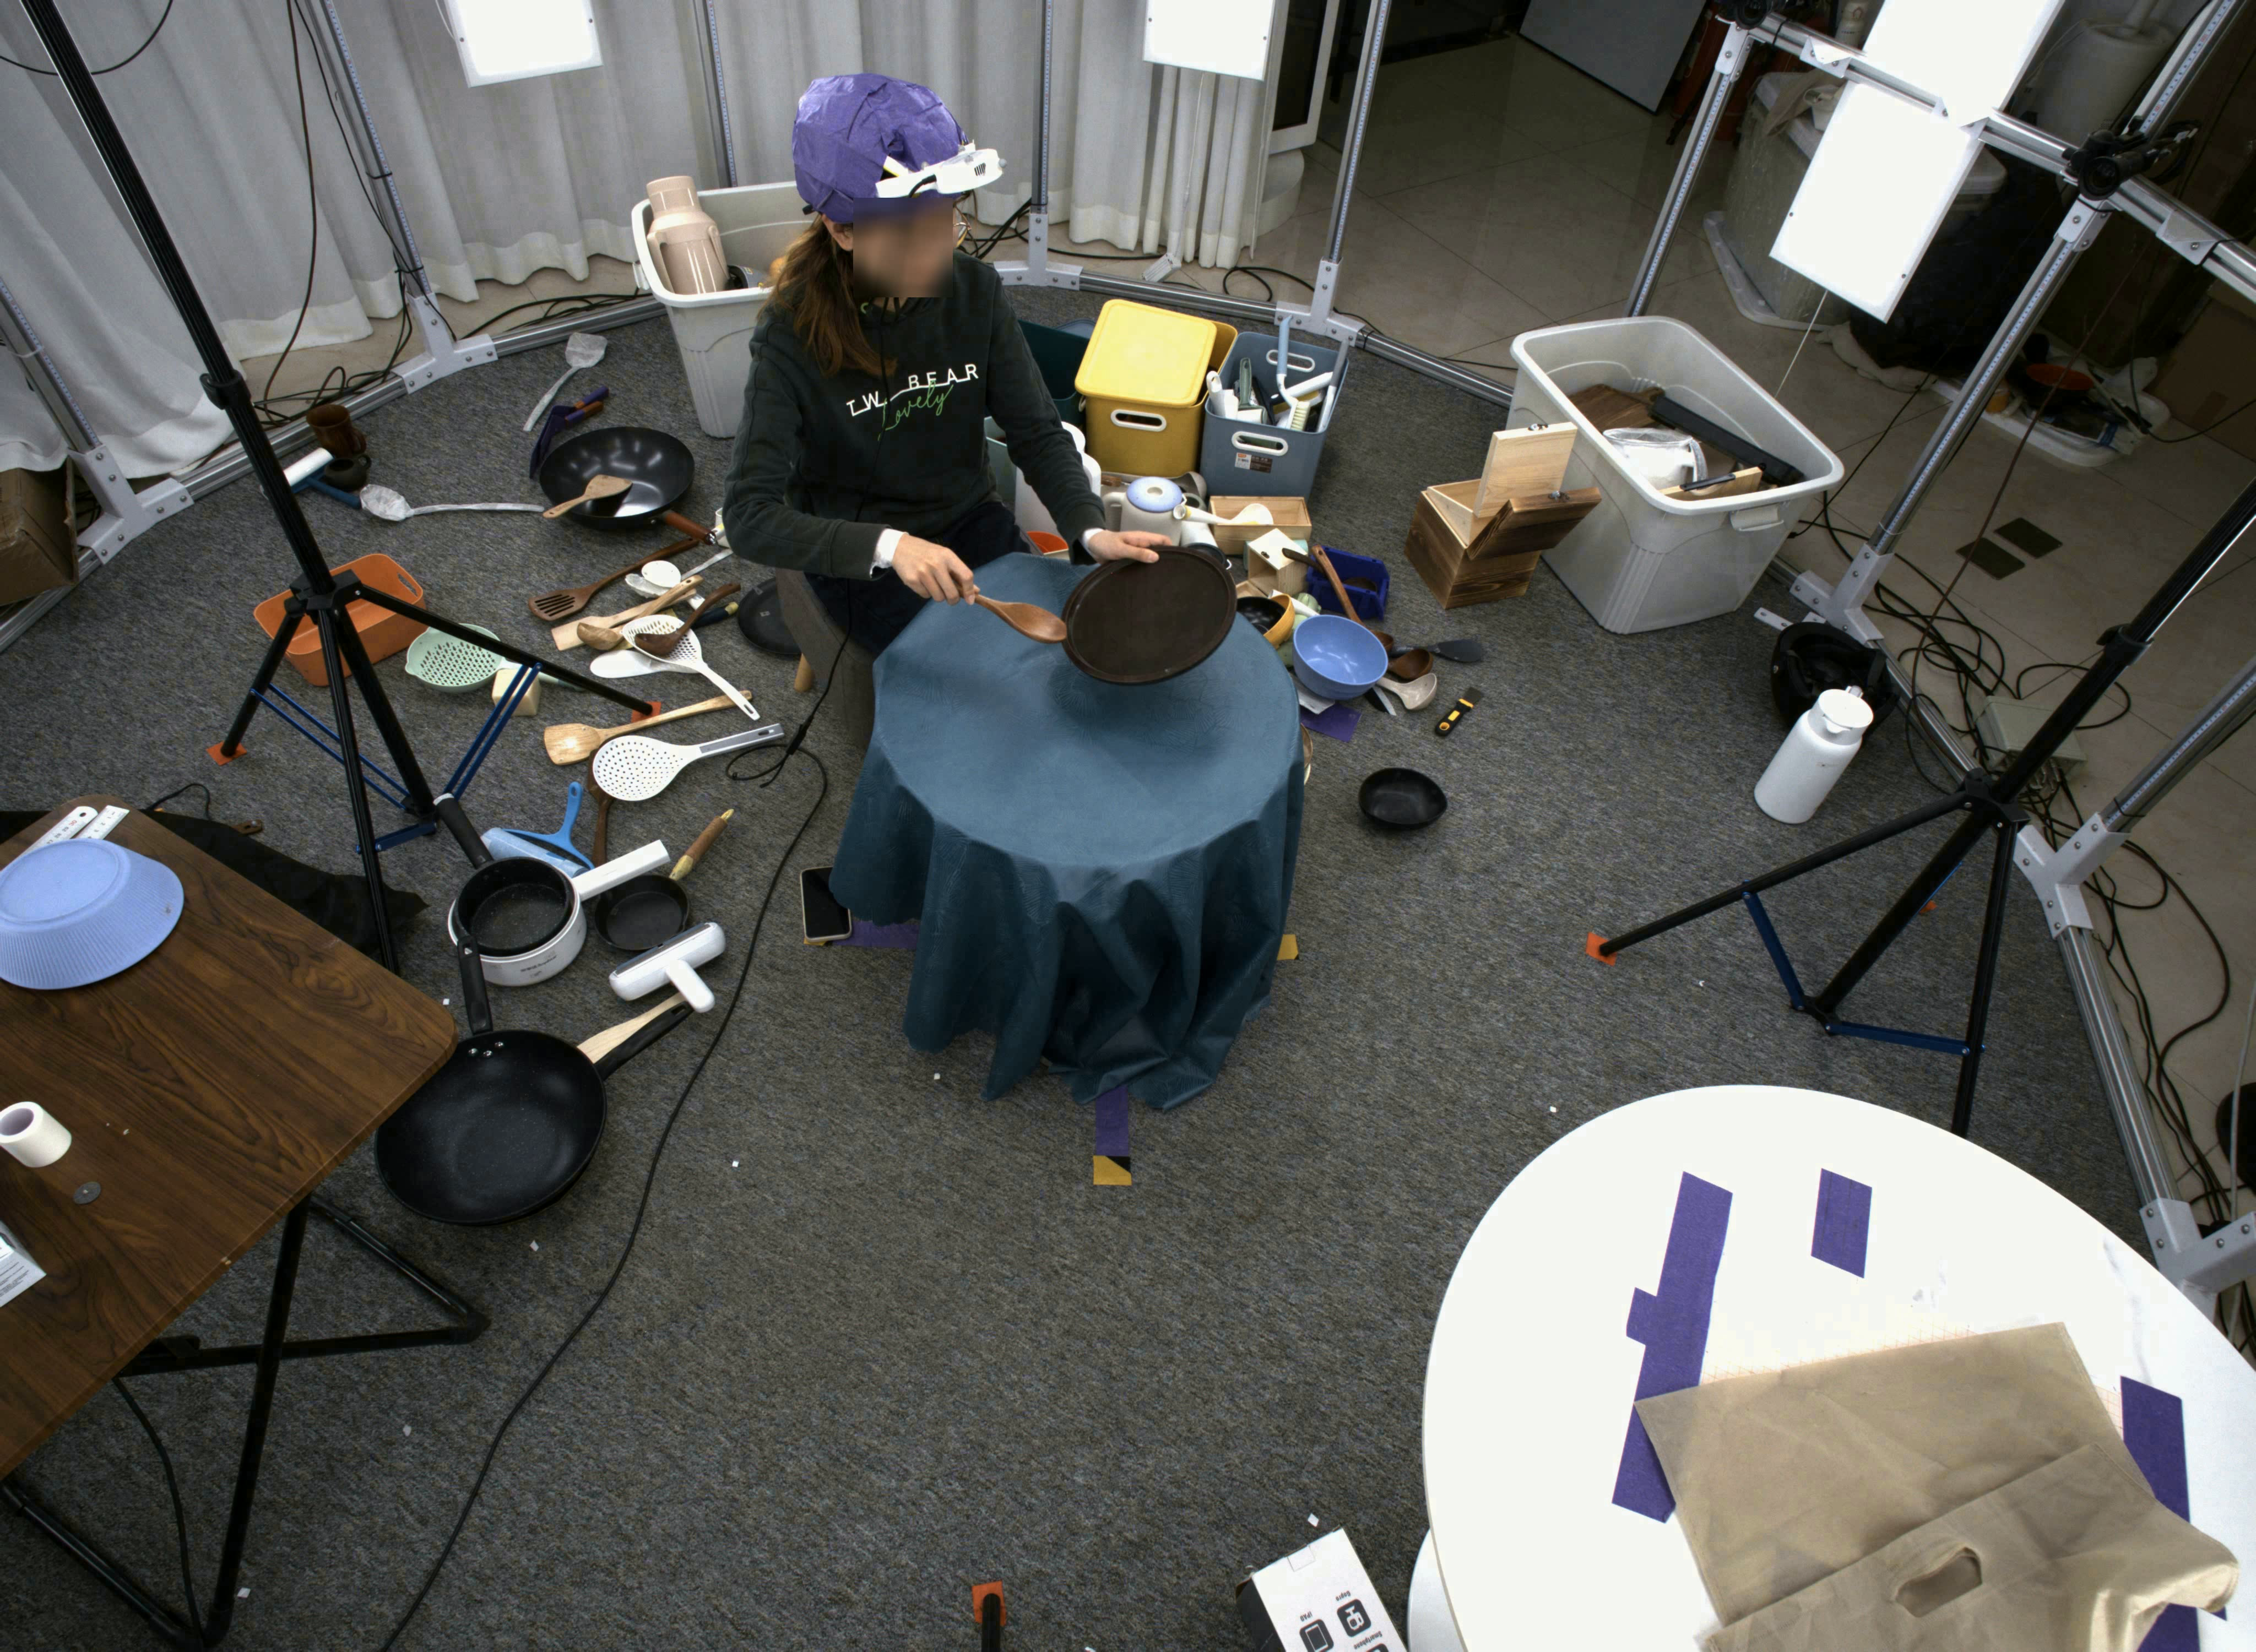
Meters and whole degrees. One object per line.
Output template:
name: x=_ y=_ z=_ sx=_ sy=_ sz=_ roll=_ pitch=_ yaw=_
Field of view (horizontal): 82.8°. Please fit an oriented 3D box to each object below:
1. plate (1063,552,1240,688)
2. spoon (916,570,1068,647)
plate: x=0.032 y=-0.290 z=1.800 sx=0.255 sy=0.028 sz=0.261 roll=-8 pitch=53 yaw=11
spoon: x=-0.181 y=-0.292 z=1.724 sx=0.215 sy=0.017 sz=0.077 roll=23 pitch=38 yaw=-6
